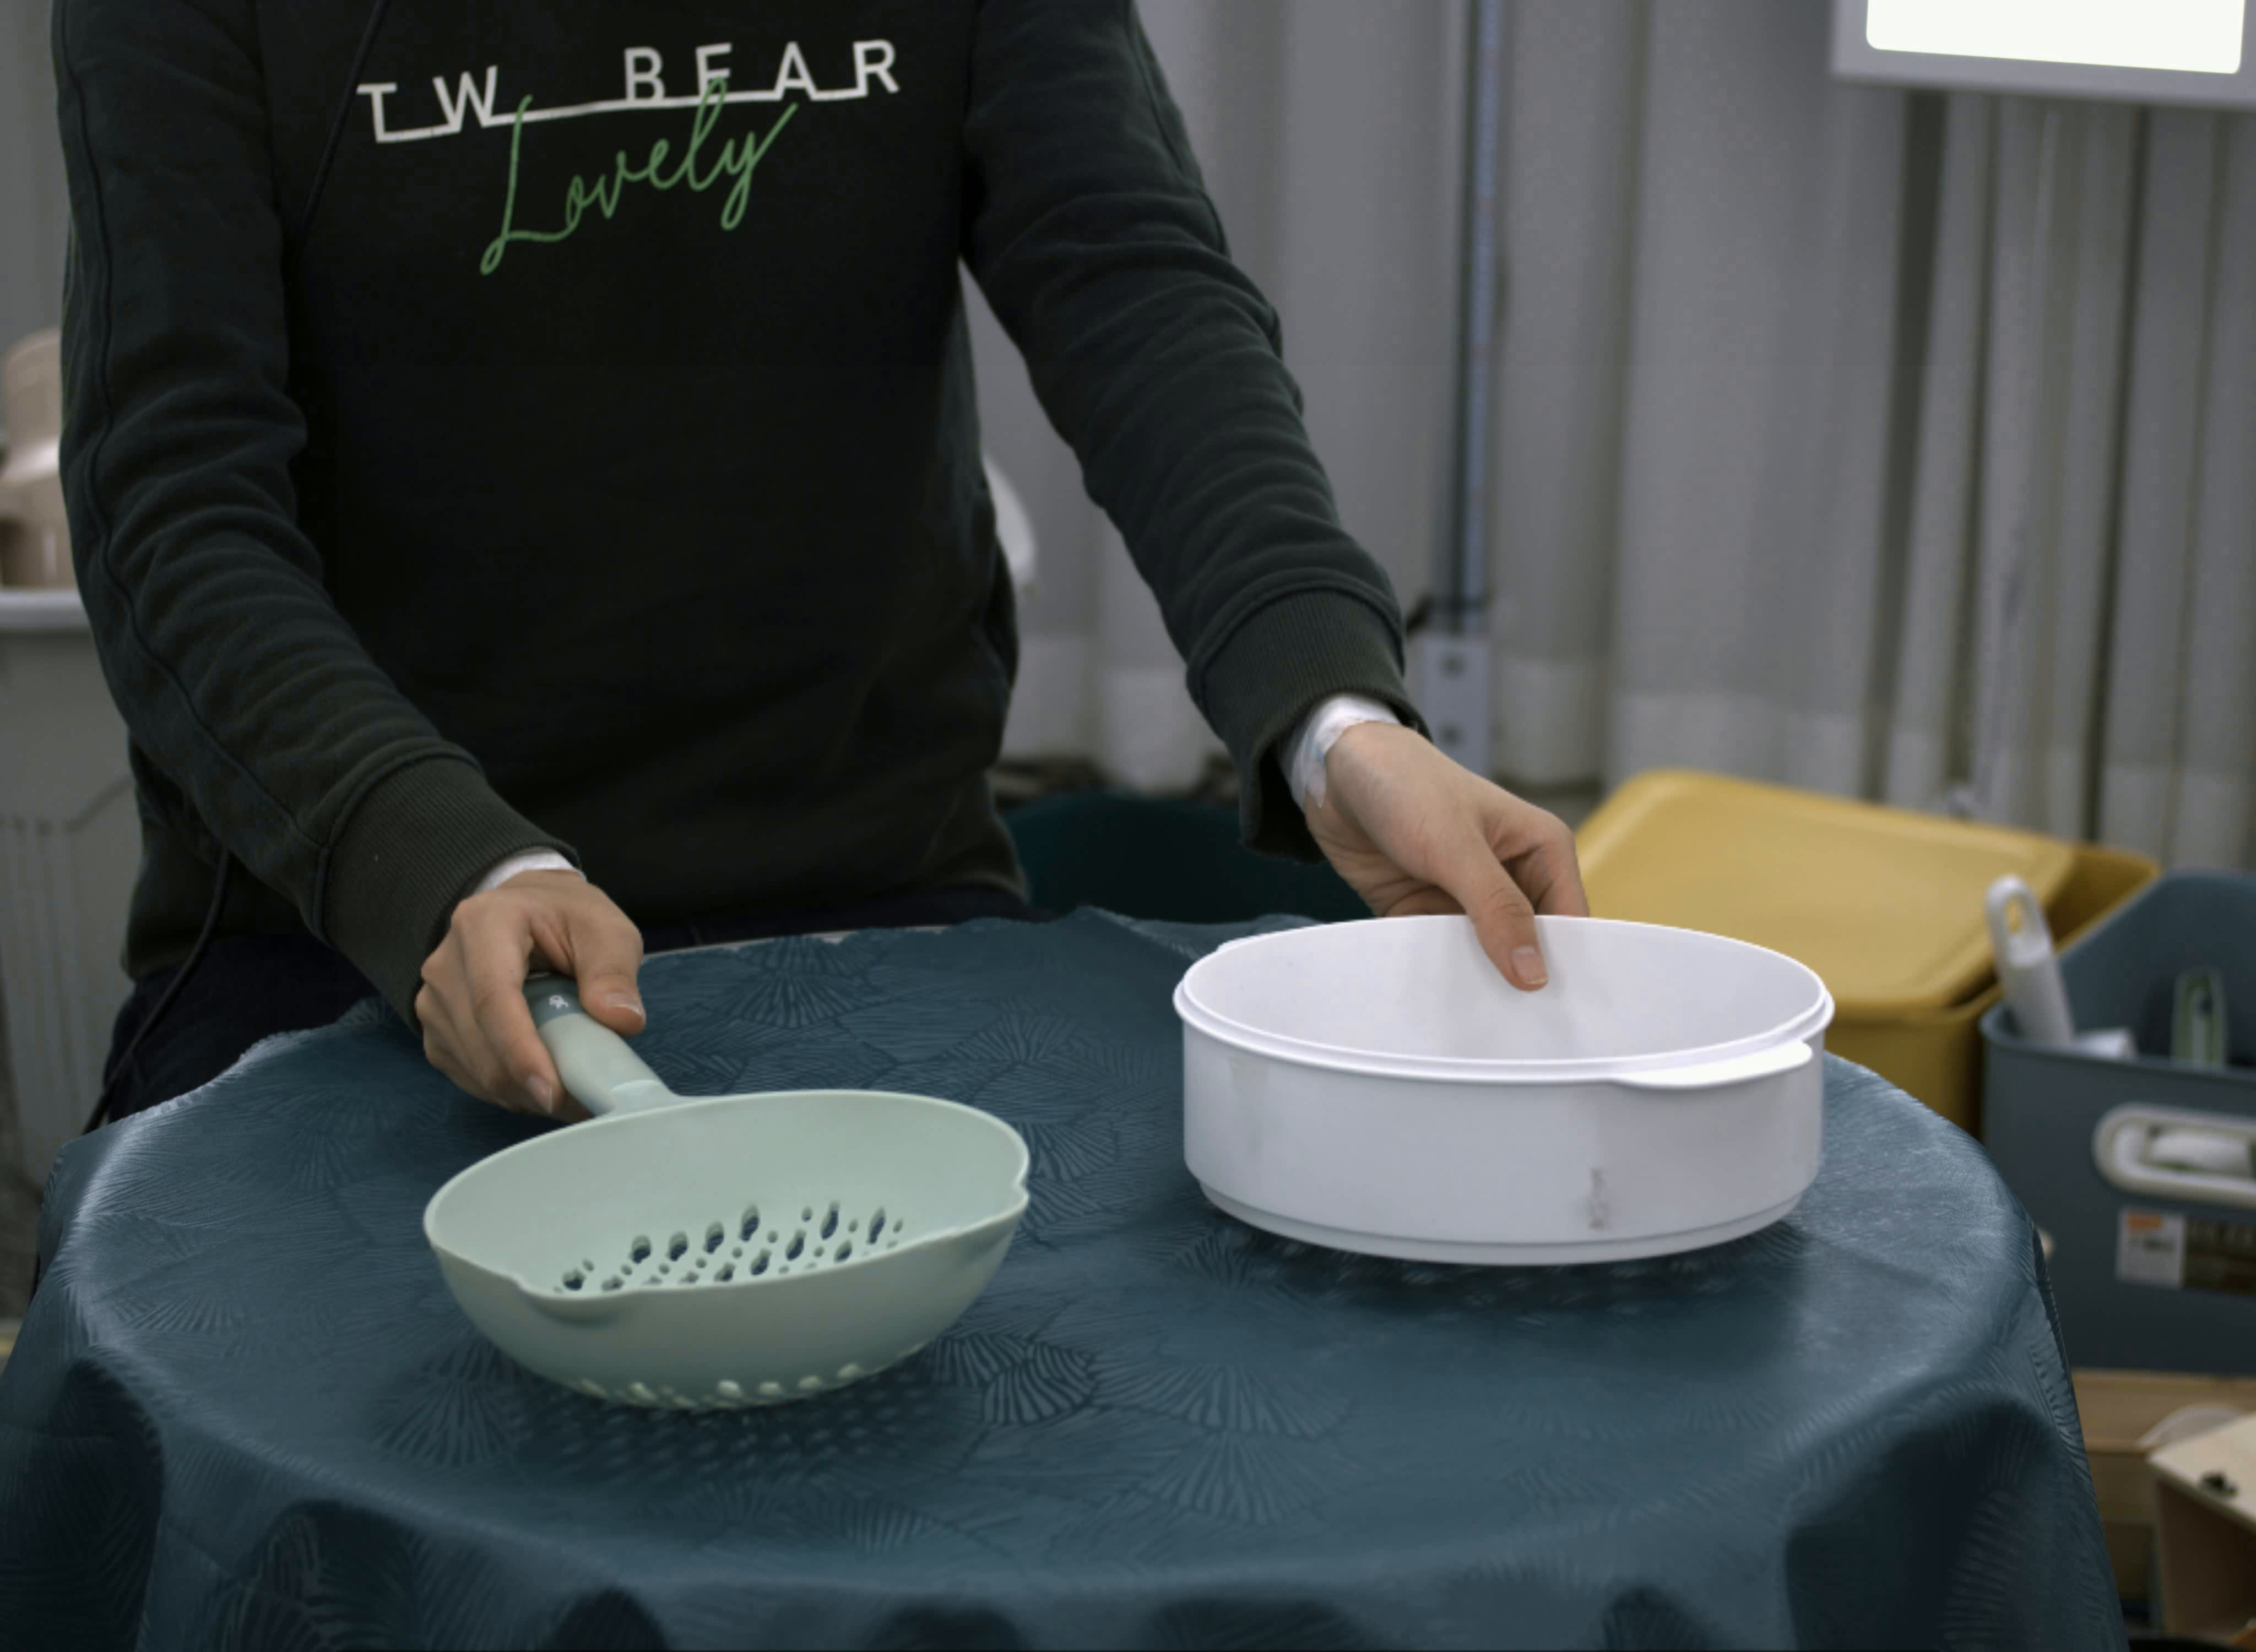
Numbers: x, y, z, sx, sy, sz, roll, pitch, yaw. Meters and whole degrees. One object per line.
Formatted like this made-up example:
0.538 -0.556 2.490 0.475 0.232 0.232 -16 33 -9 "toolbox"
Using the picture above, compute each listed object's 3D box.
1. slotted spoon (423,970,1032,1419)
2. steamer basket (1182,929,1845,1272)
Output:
-0.140 0.091 1.548 0.169 0.076 0.354 -9 23 -17 "slotted spoon"
0.116 0.083 1.602 0.203 0.070 0.227 -7 13 -36 "steamer basket"
